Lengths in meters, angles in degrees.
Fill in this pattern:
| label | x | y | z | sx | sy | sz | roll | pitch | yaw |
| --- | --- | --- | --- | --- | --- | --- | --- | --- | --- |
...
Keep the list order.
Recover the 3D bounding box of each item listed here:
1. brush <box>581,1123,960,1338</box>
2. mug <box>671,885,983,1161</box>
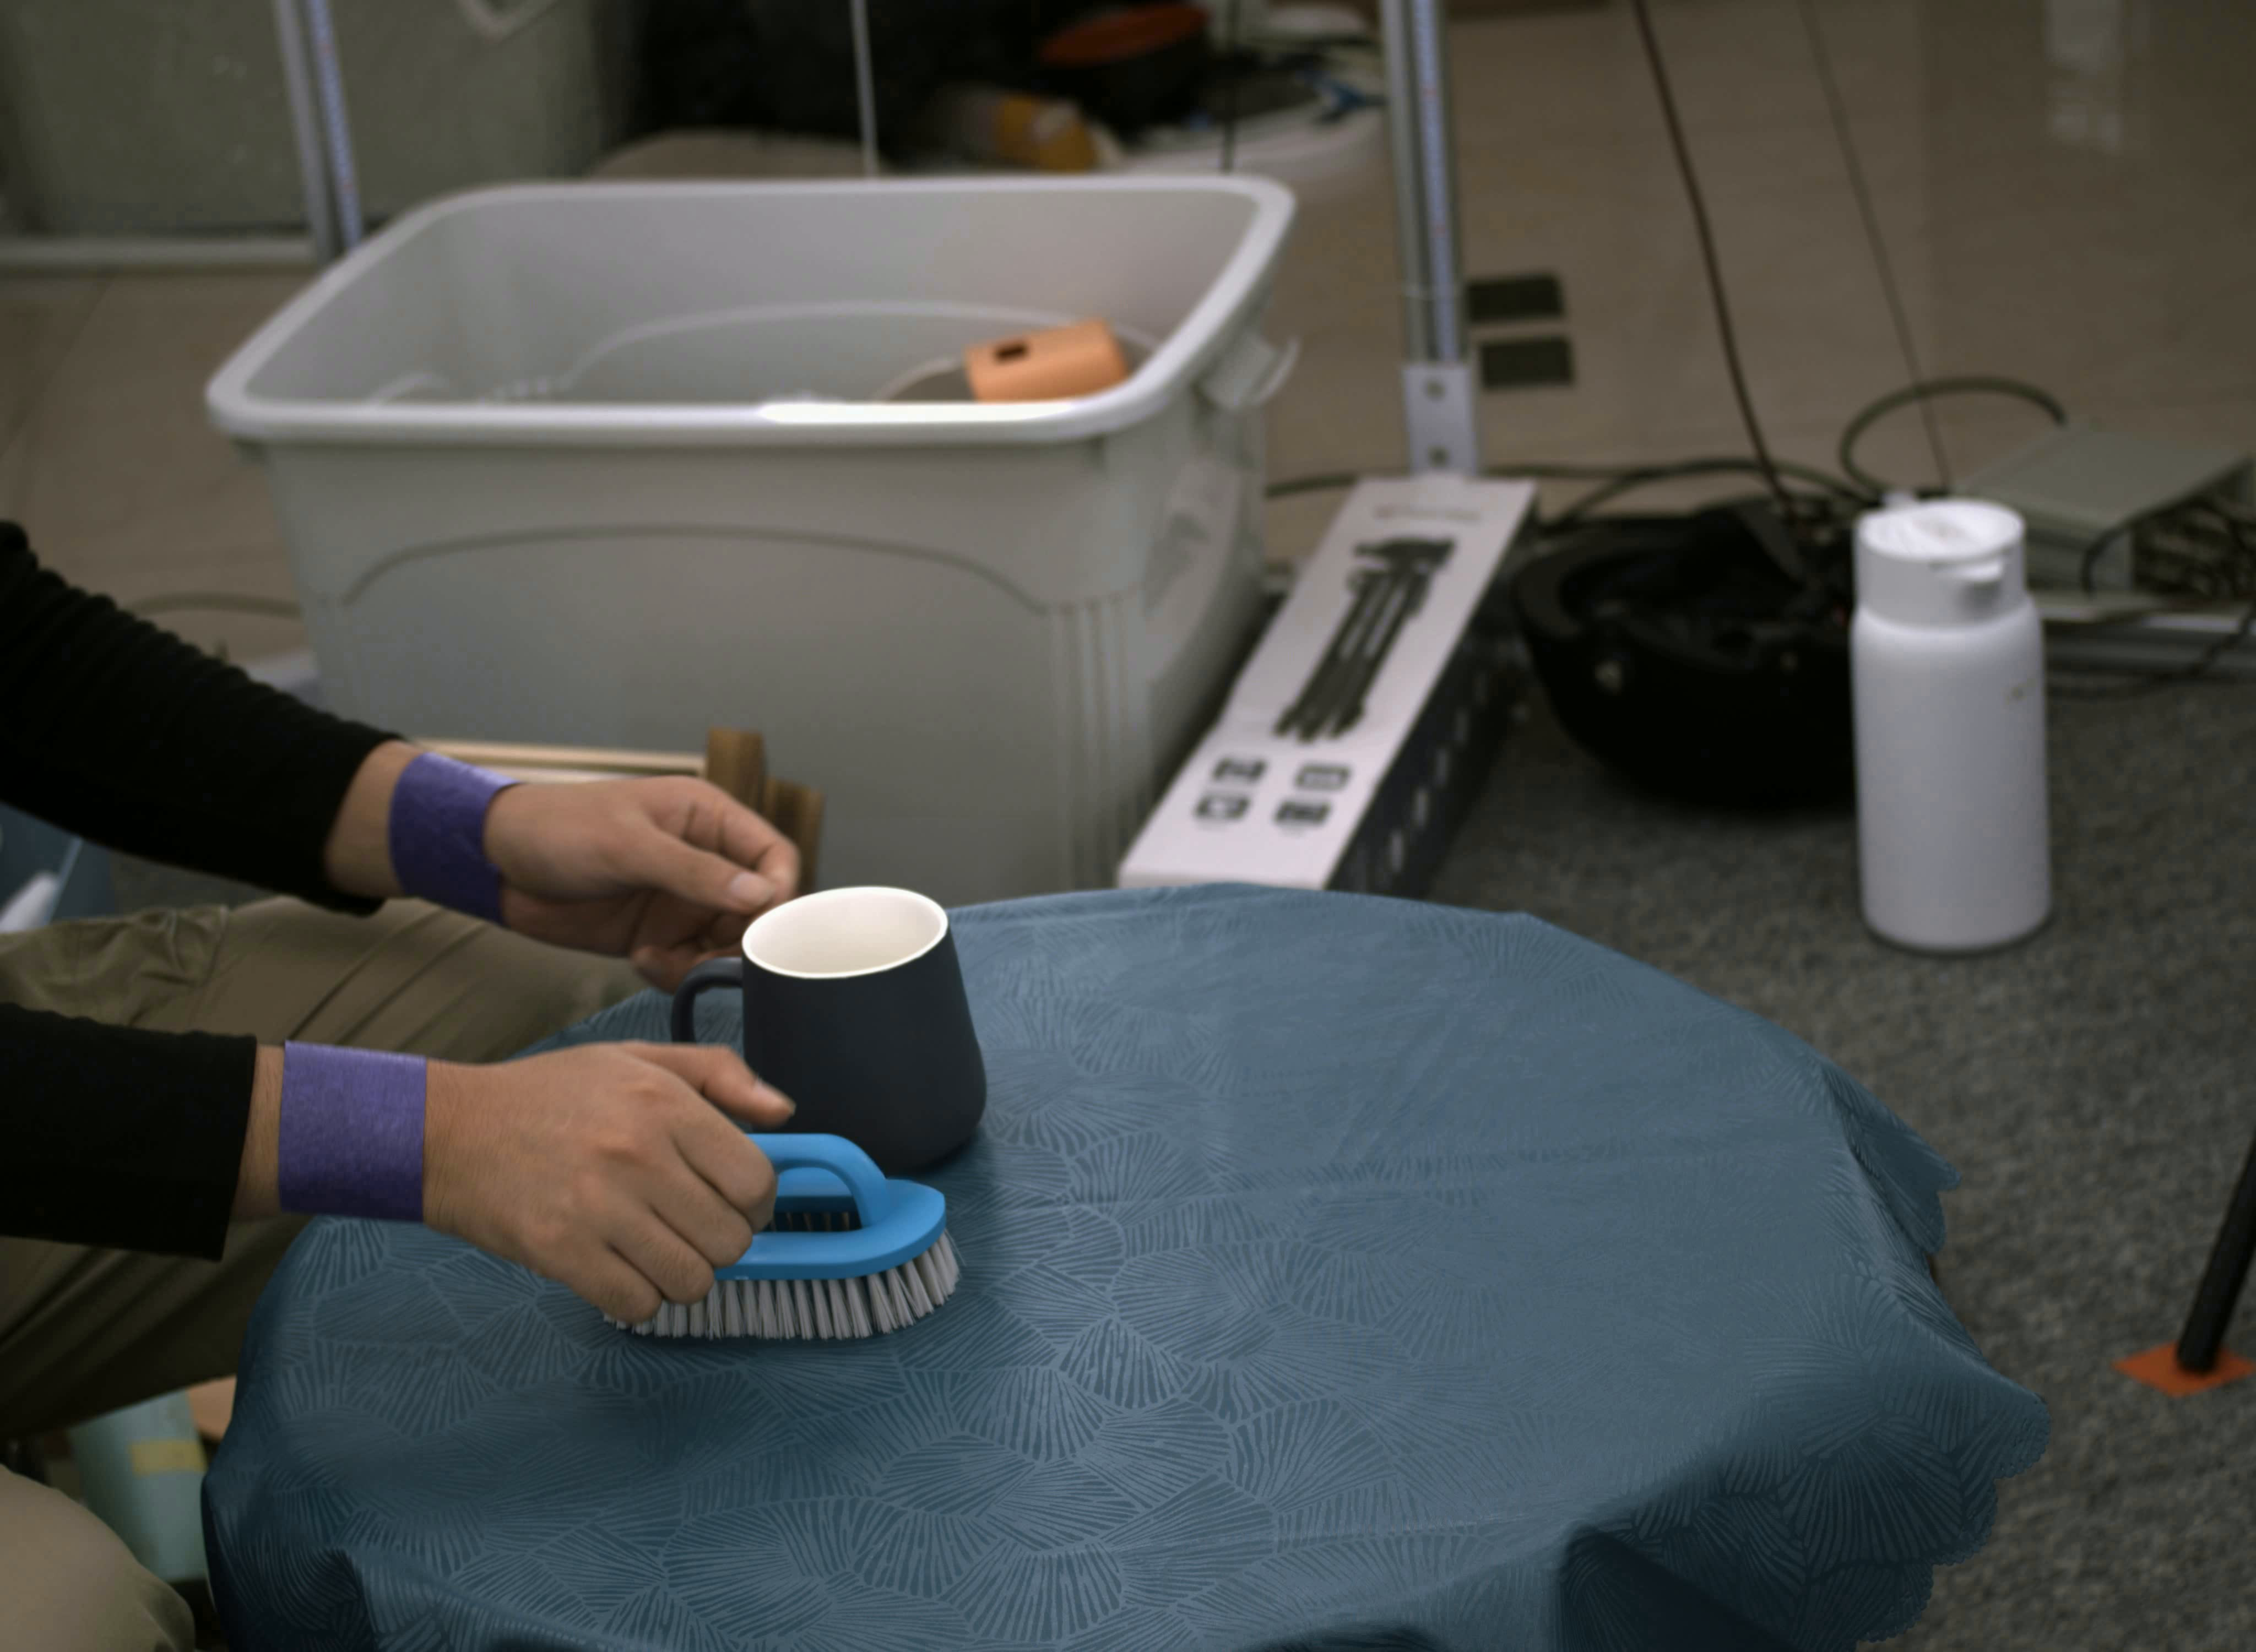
| label | x | y | z | sx | sy | sz | roll | pitch | yaw |
| --- | --- | --- | --- | --- | --- | --- | --- | --- | --- |
| brush | -0.136 | 0.141 | 2.097 | 0.141 | 0.065 | 0.083 | -1 | 31 | 14 |
| mug | -0.119 | 0.078 | 2.193 | 0.123 | 0.091 | 0.092 | 4 | 27 | 18 |
